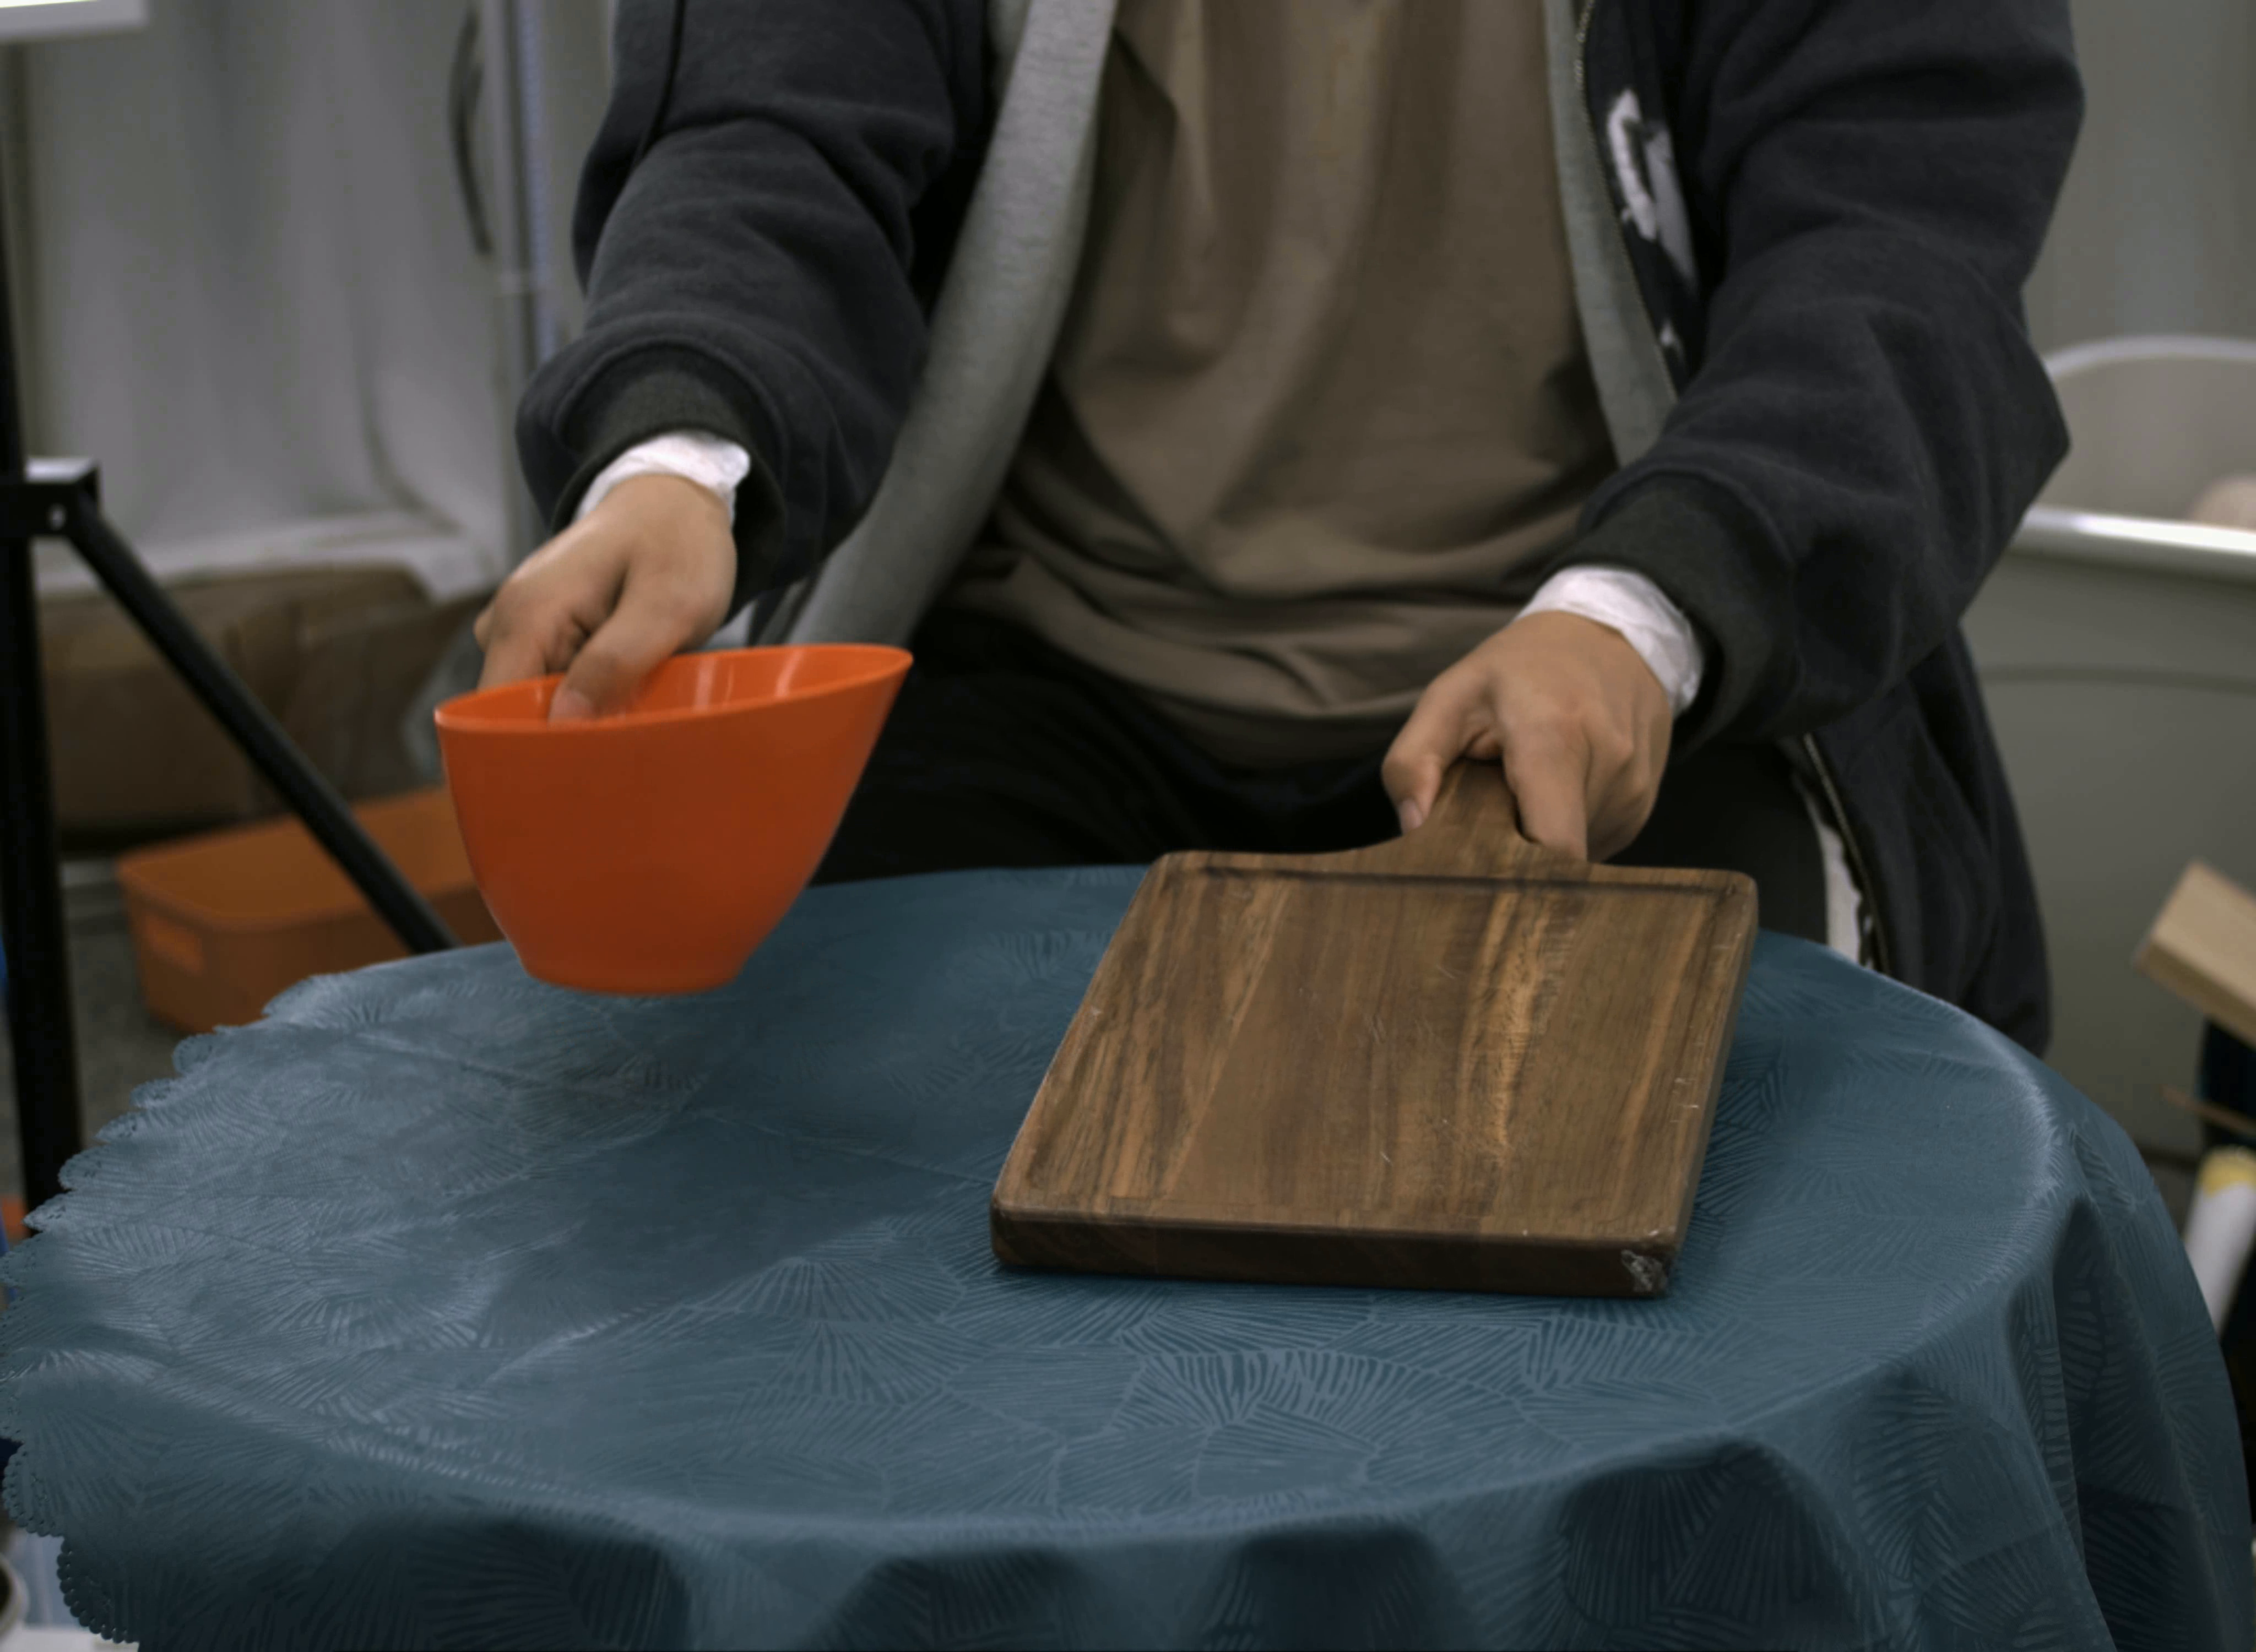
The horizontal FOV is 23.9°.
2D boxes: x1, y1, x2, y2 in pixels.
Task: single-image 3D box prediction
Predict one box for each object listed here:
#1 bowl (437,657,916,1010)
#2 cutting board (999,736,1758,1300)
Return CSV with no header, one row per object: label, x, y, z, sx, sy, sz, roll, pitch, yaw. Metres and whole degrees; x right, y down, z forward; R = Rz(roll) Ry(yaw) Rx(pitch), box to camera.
bowl,-0.141,0.000,1.650,0.147,0.105,0.148,2,12,-2
cutting board,0.090,0.050,1.625,0.202,0.023,0.351,1,24,12
